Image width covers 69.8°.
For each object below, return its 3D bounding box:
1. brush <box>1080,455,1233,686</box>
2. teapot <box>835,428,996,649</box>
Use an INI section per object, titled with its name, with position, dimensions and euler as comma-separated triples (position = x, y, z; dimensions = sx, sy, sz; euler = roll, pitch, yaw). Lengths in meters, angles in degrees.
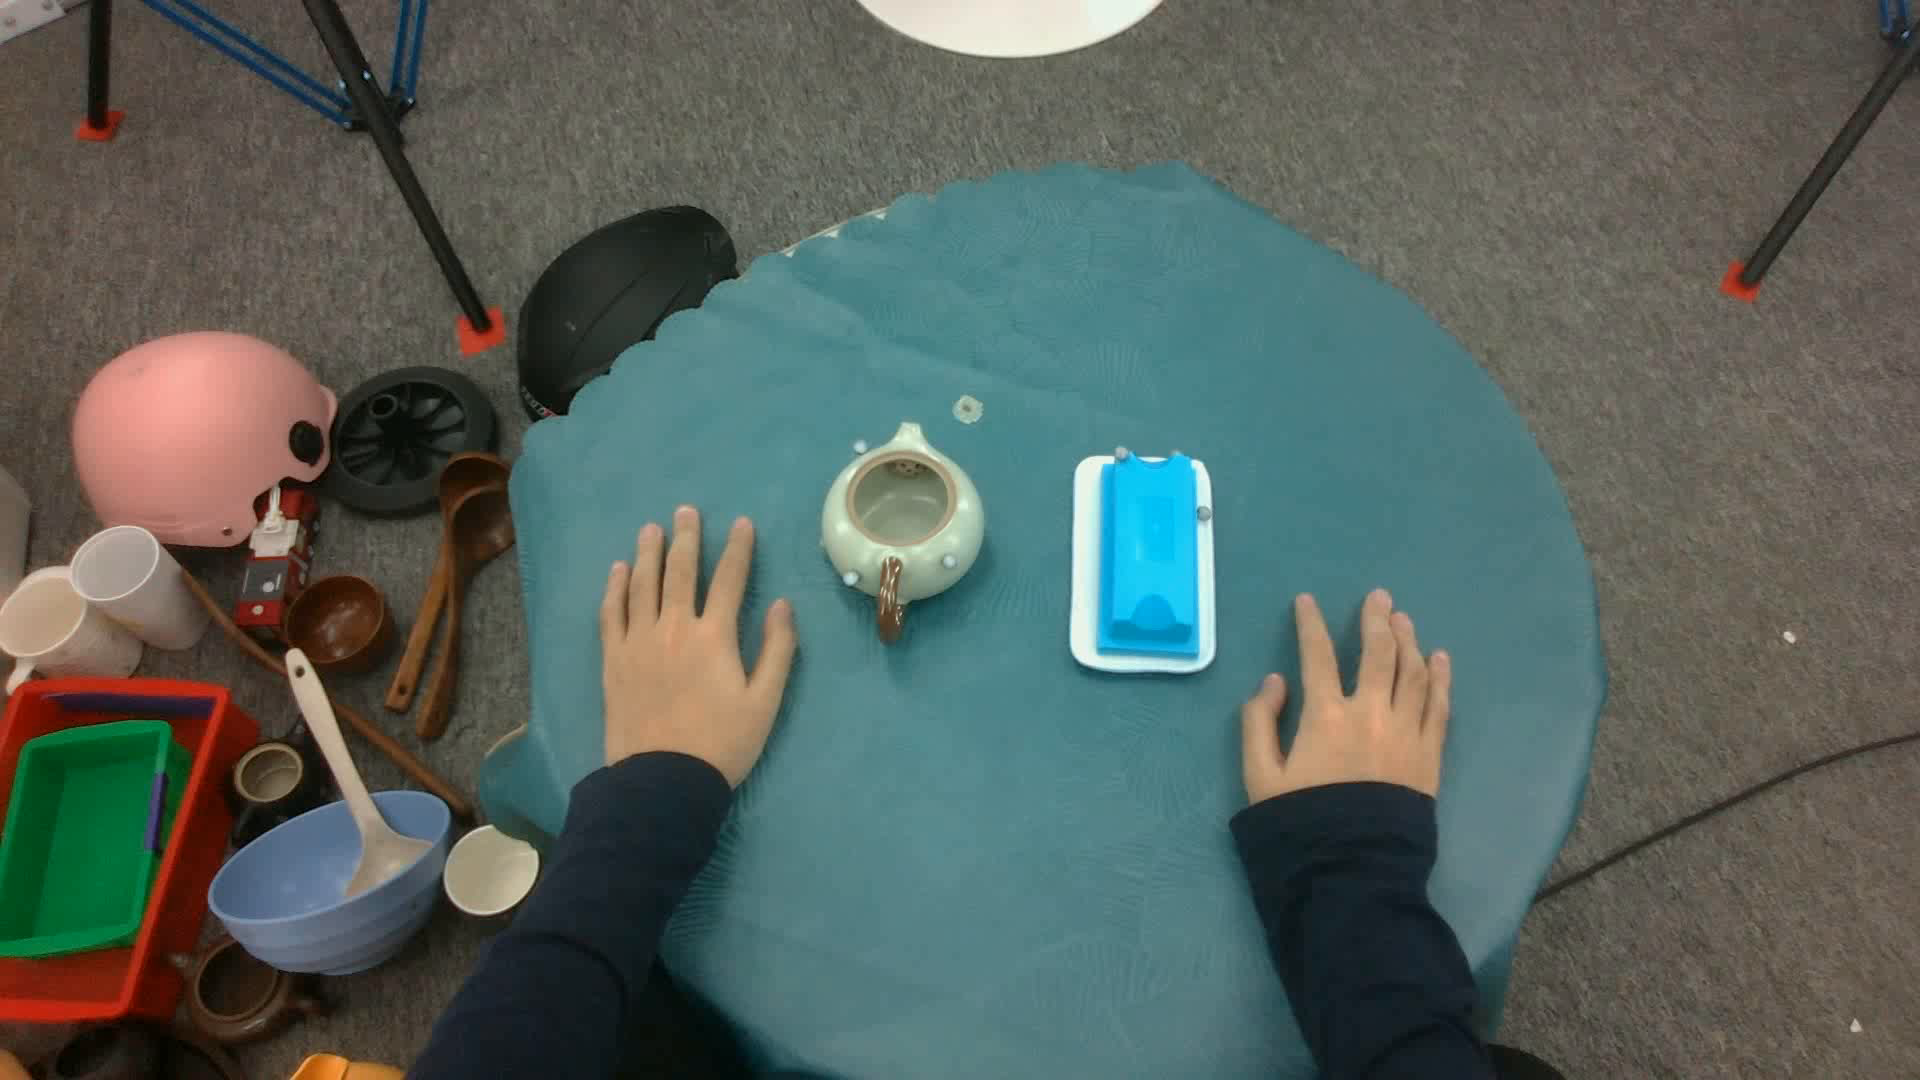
[brush]
position = 0.112, 0.010, 0.771
dimensions = 0.084, 0.055, 0.144
euler = 3, 58, 7
[teapot]
position = -0.026, 0.001, 0.782
dimensions = 0.092, 0.059, 0.128
euler = 3, 59, 1
